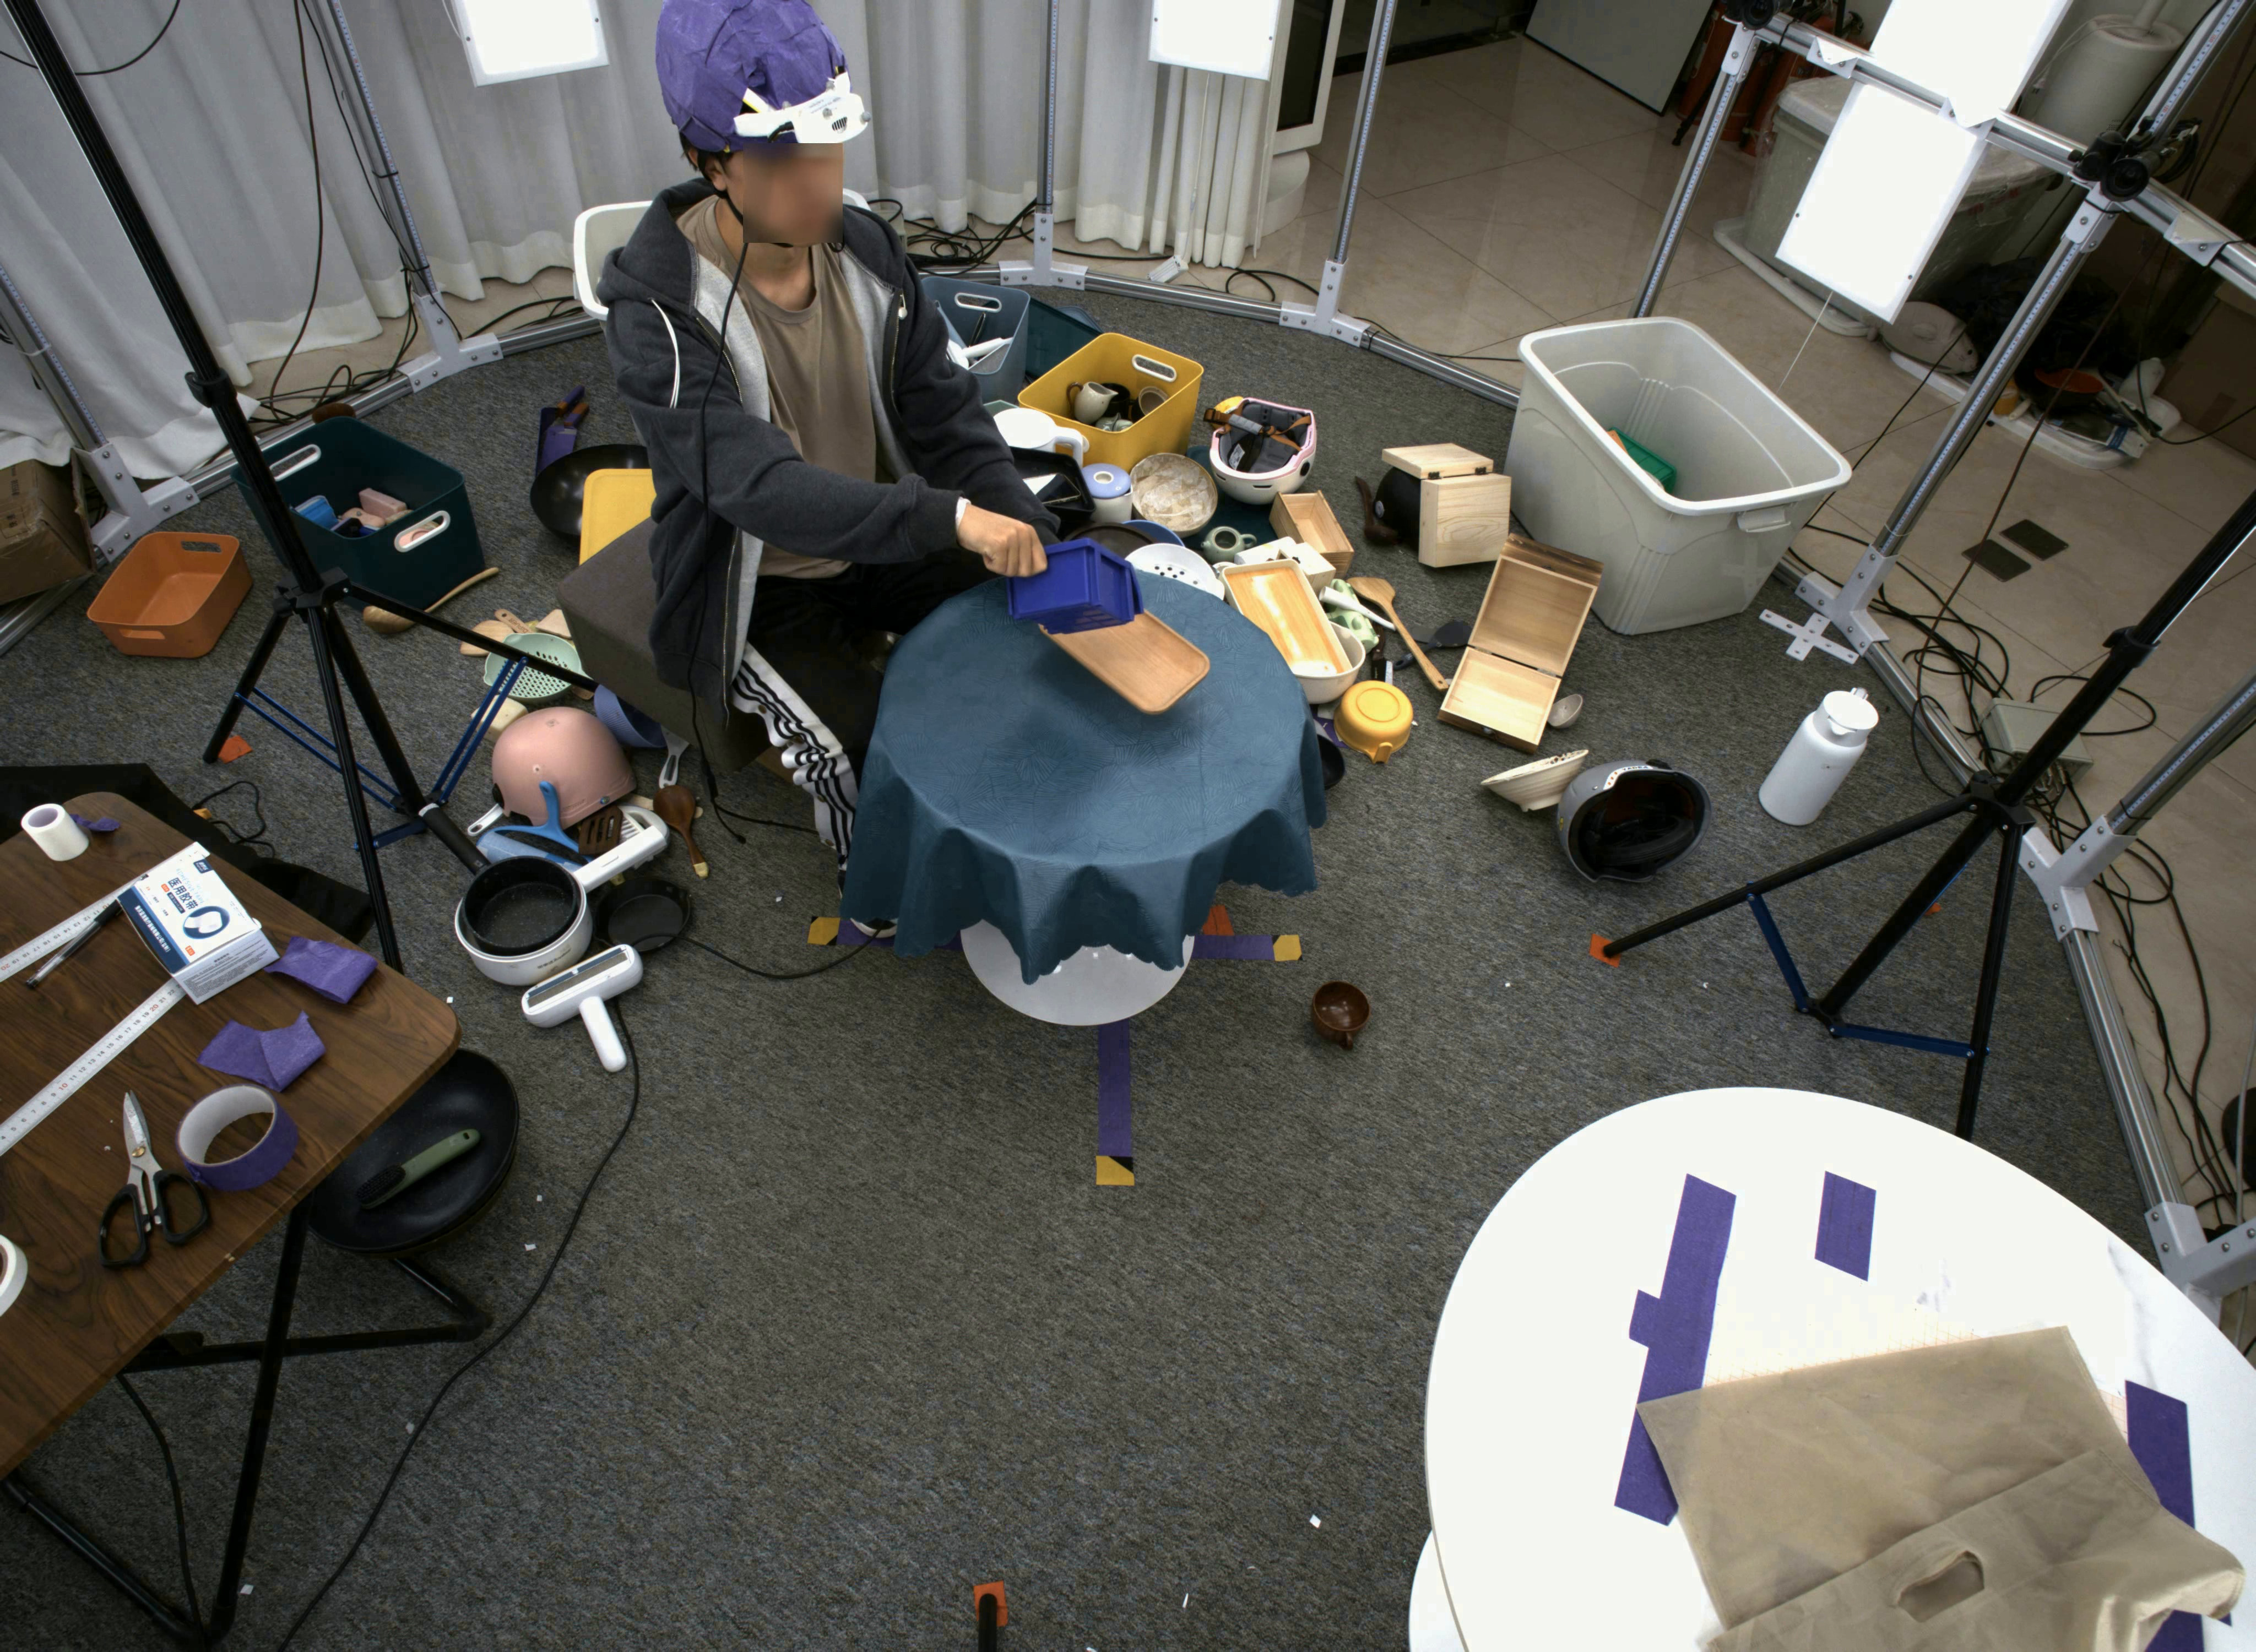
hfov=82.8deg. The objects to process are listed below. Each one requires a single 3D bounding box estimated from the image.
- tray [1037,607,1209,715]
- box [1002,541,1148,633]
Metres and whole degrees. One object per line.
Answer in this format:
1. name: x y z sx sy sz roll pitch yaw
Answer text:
1. tray: -0.008 -0.255 1.803 0.131 0.022 0.254 -39 62 -21
2. box: -0.066 -0.305 1.674 0.124 0.082 0.179 -6 -1 24
